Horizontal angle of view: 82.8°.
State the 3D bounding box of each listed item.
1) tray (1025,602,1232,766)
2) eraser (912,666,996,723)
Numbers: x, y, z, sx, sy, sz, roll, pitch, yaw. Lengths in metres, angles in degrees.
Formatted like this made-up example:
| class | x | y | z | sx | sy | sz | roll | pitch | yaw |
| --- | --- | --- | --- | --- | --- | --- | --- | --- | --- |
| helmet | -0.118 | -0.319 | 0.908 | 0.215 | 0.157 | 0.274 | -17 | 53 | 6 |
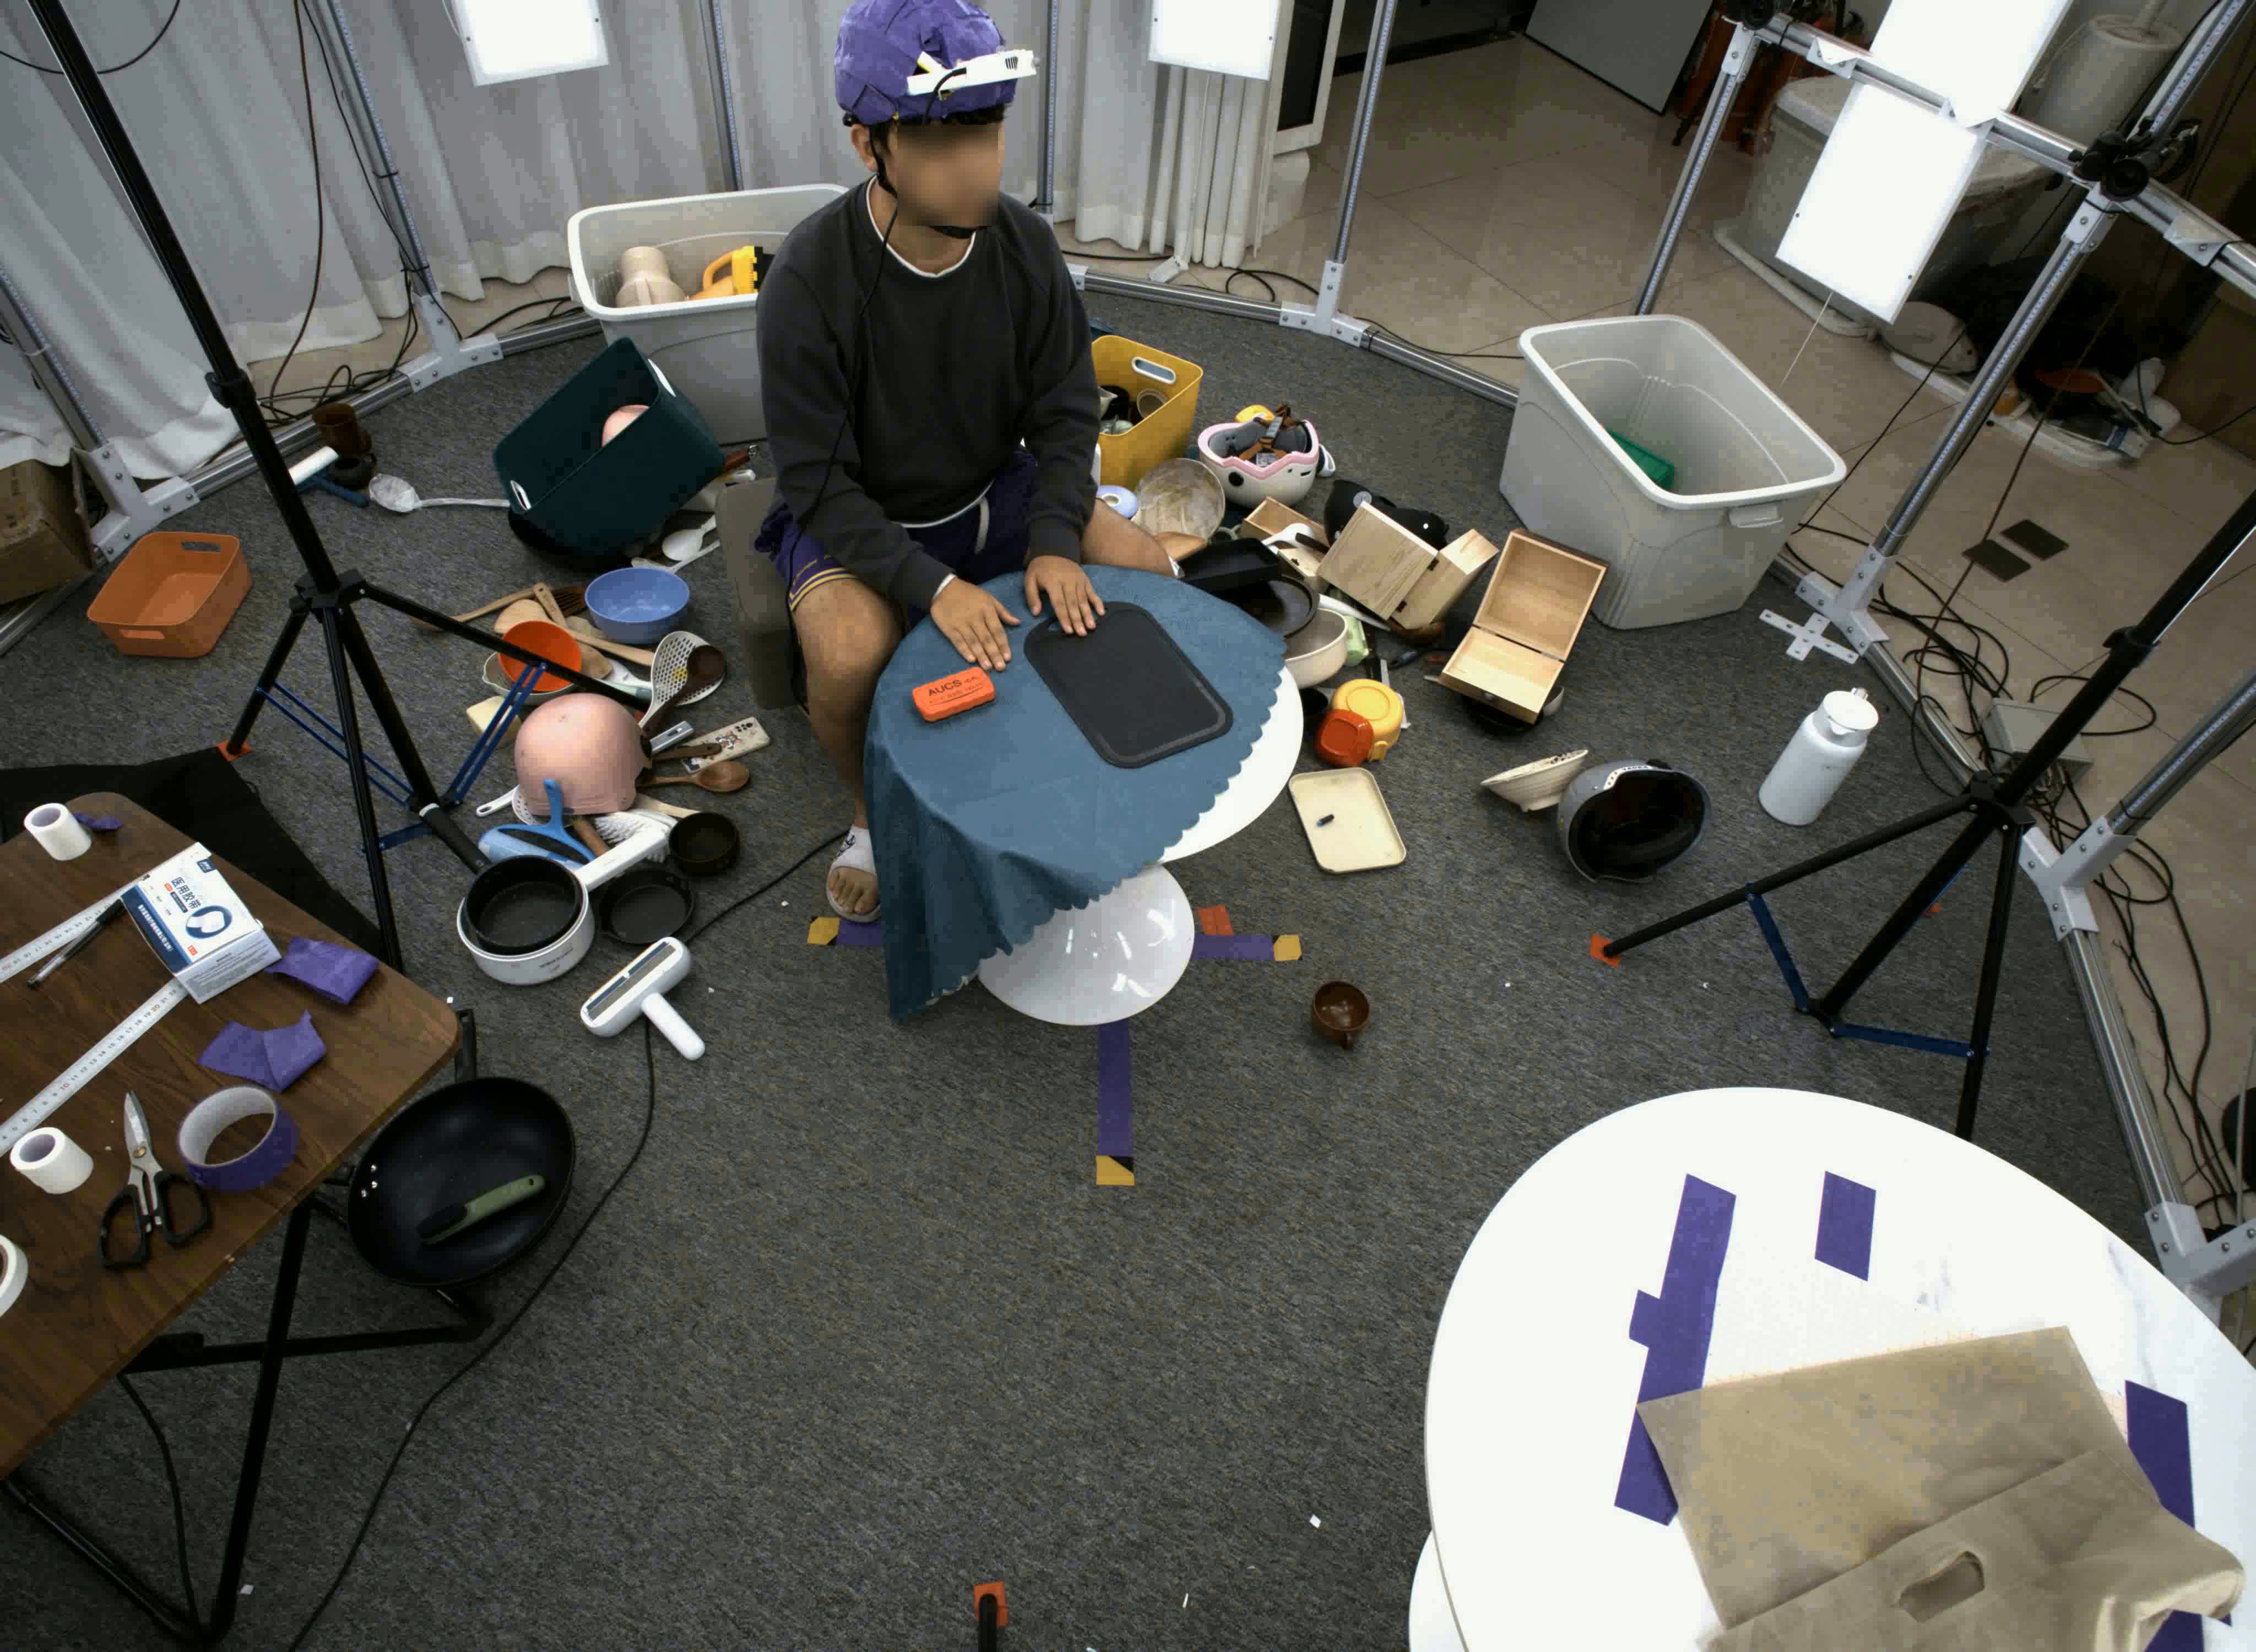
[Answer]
| class | x | y | z | sx | sy | sz | roll | pitch | yaw |
| --- | --- | --- | --- | --- | --- | --- | --- | --- | --- |
| tray | -0.007 | -0.216 | 1.850 | 0.211 | 0.009 | 0.332 | -21 | 53 | -21 |
| eraser | -0.242 | -0.184 | 1.790 | 0.108 | 0.022 | 0.060 | -22 | 55 | -24 |
